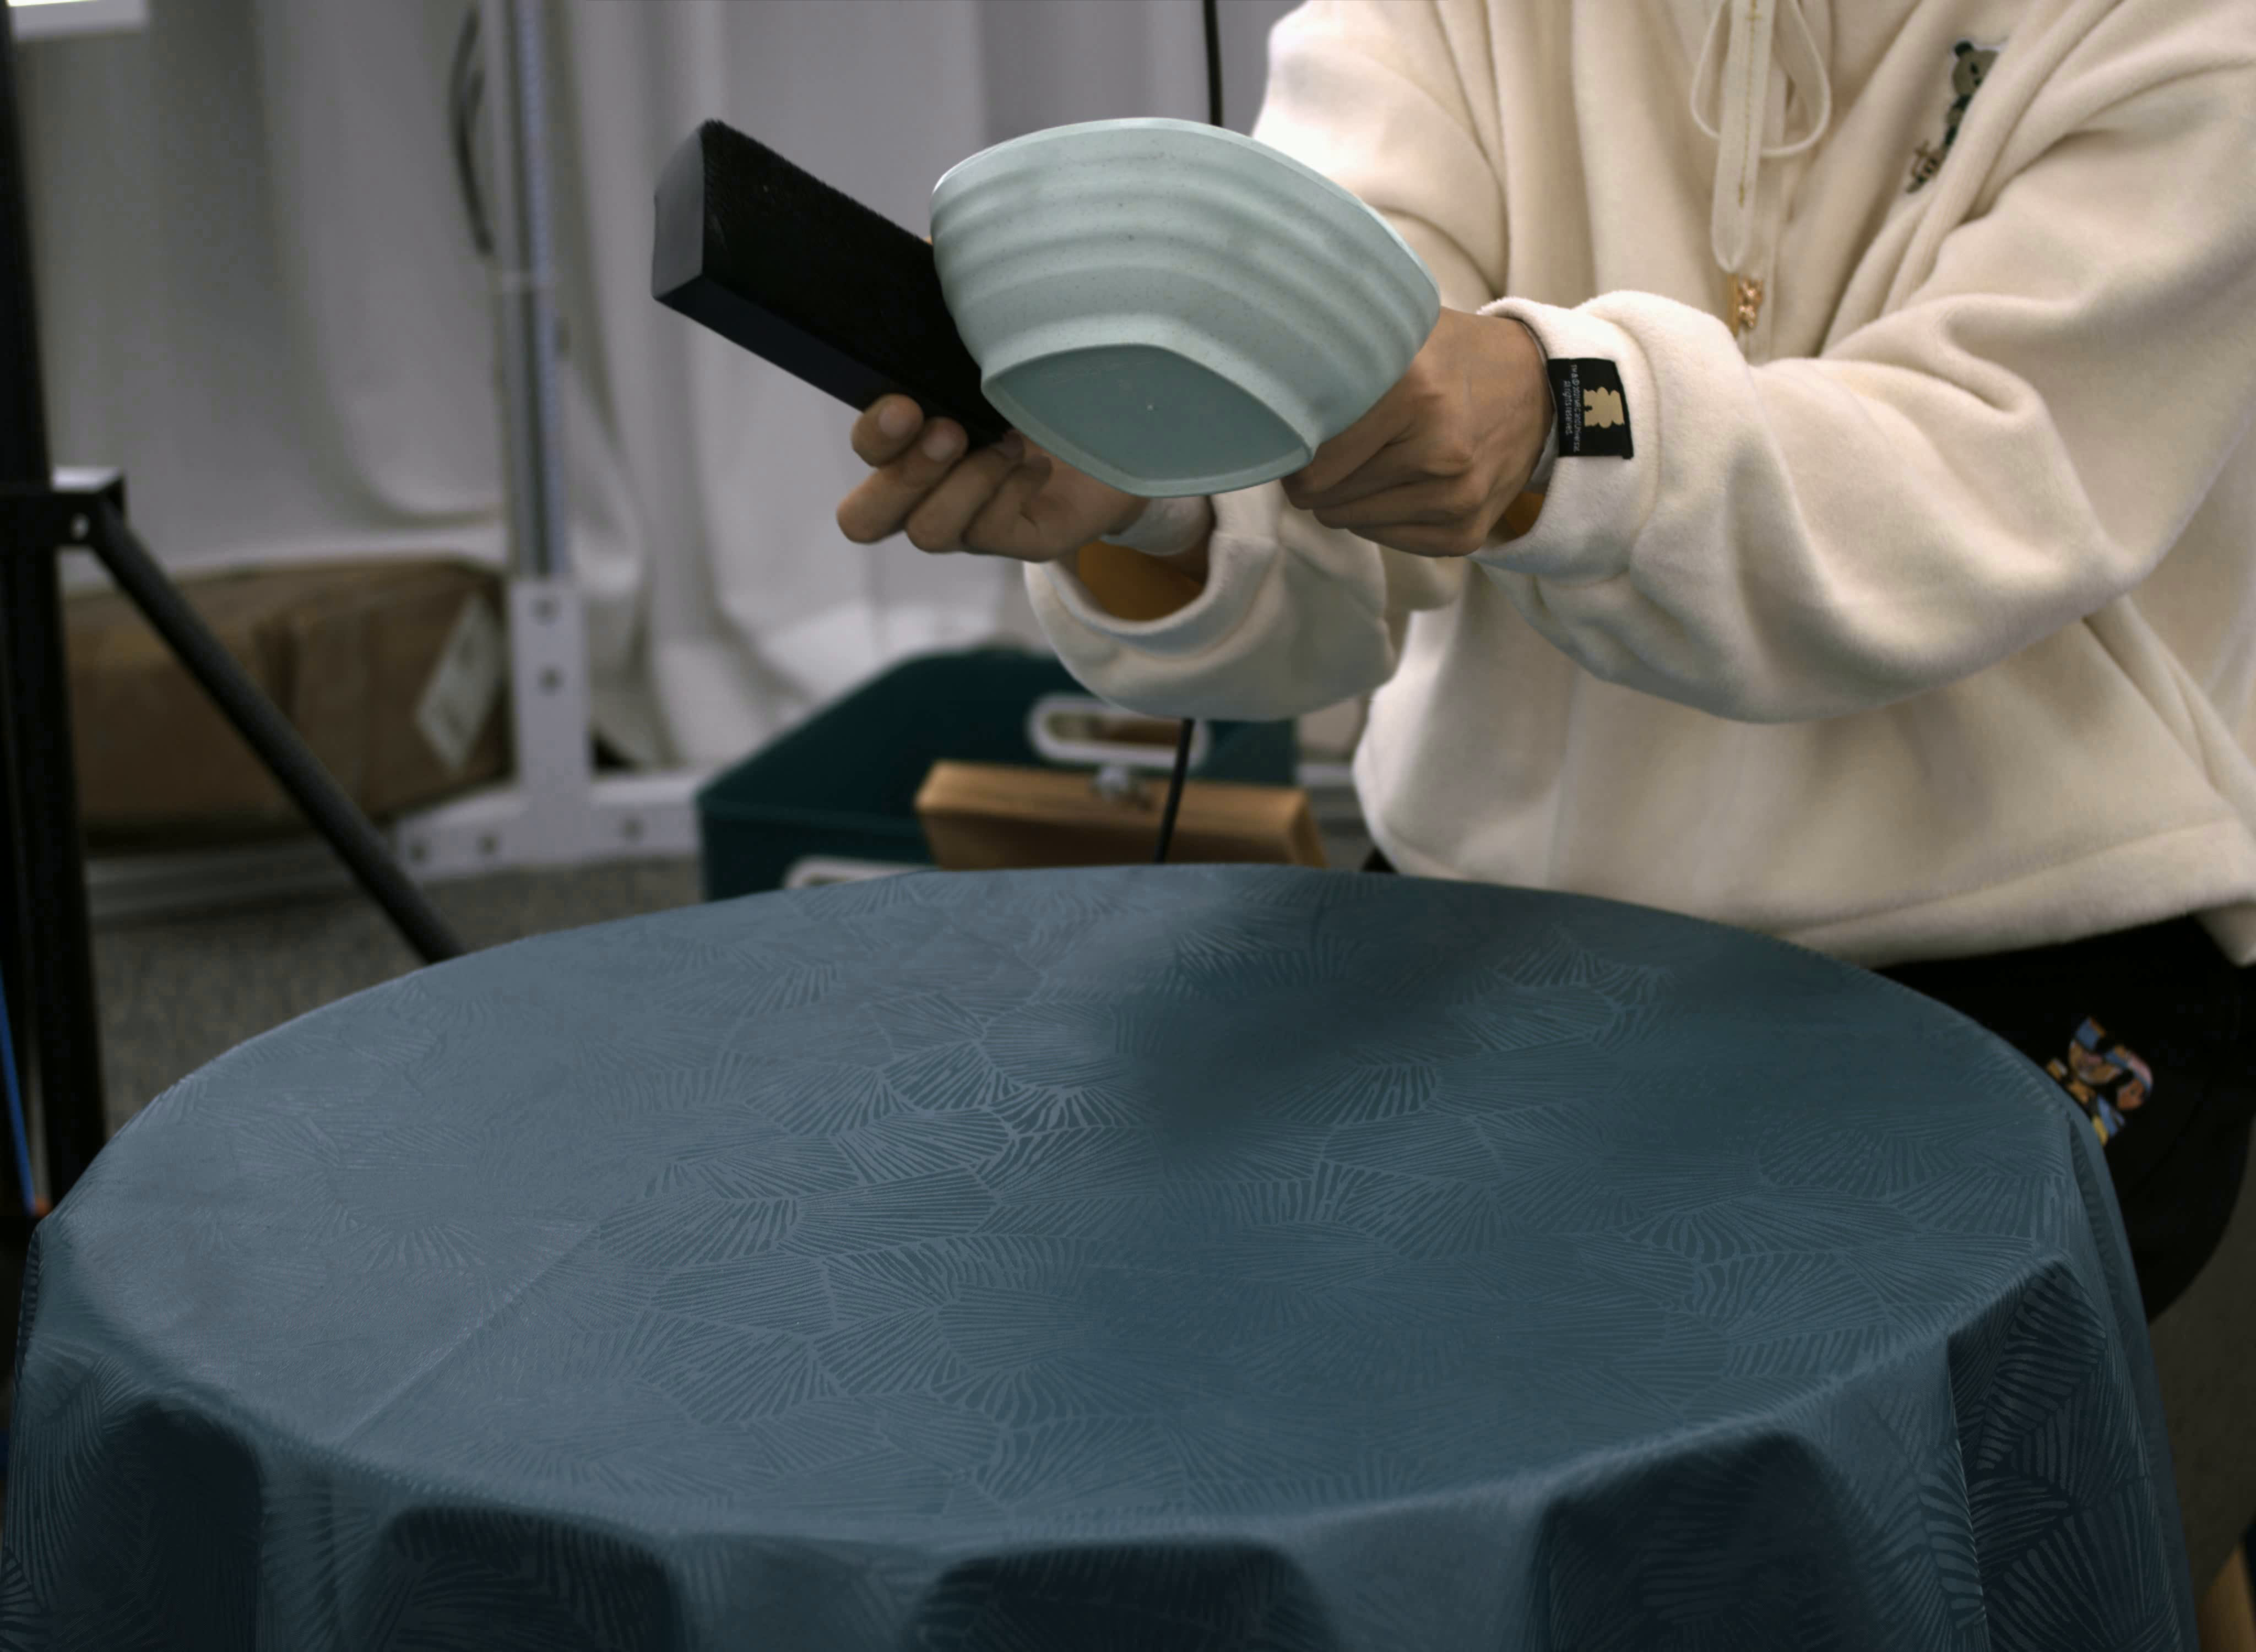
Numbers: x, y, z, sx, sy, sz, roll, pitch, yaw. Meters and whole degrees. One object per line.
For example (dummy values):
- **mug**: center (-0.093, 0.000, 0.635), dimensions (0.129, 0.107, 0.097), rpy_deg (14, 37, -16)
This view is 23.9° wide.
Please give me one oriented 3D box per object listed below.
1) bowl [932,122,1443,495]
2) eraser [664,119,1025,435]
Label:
- **bowl**: center (0.011, -0.140, 1.525), dimensions (0.151, 0.059, 0.151), rpy_deg (14, -20, 4)
- **eraser**: center (-0.078, -0.158, 1.542), dimensions (0.122, 0.054, 0.031), rpy_deg (20, -40, -36)
